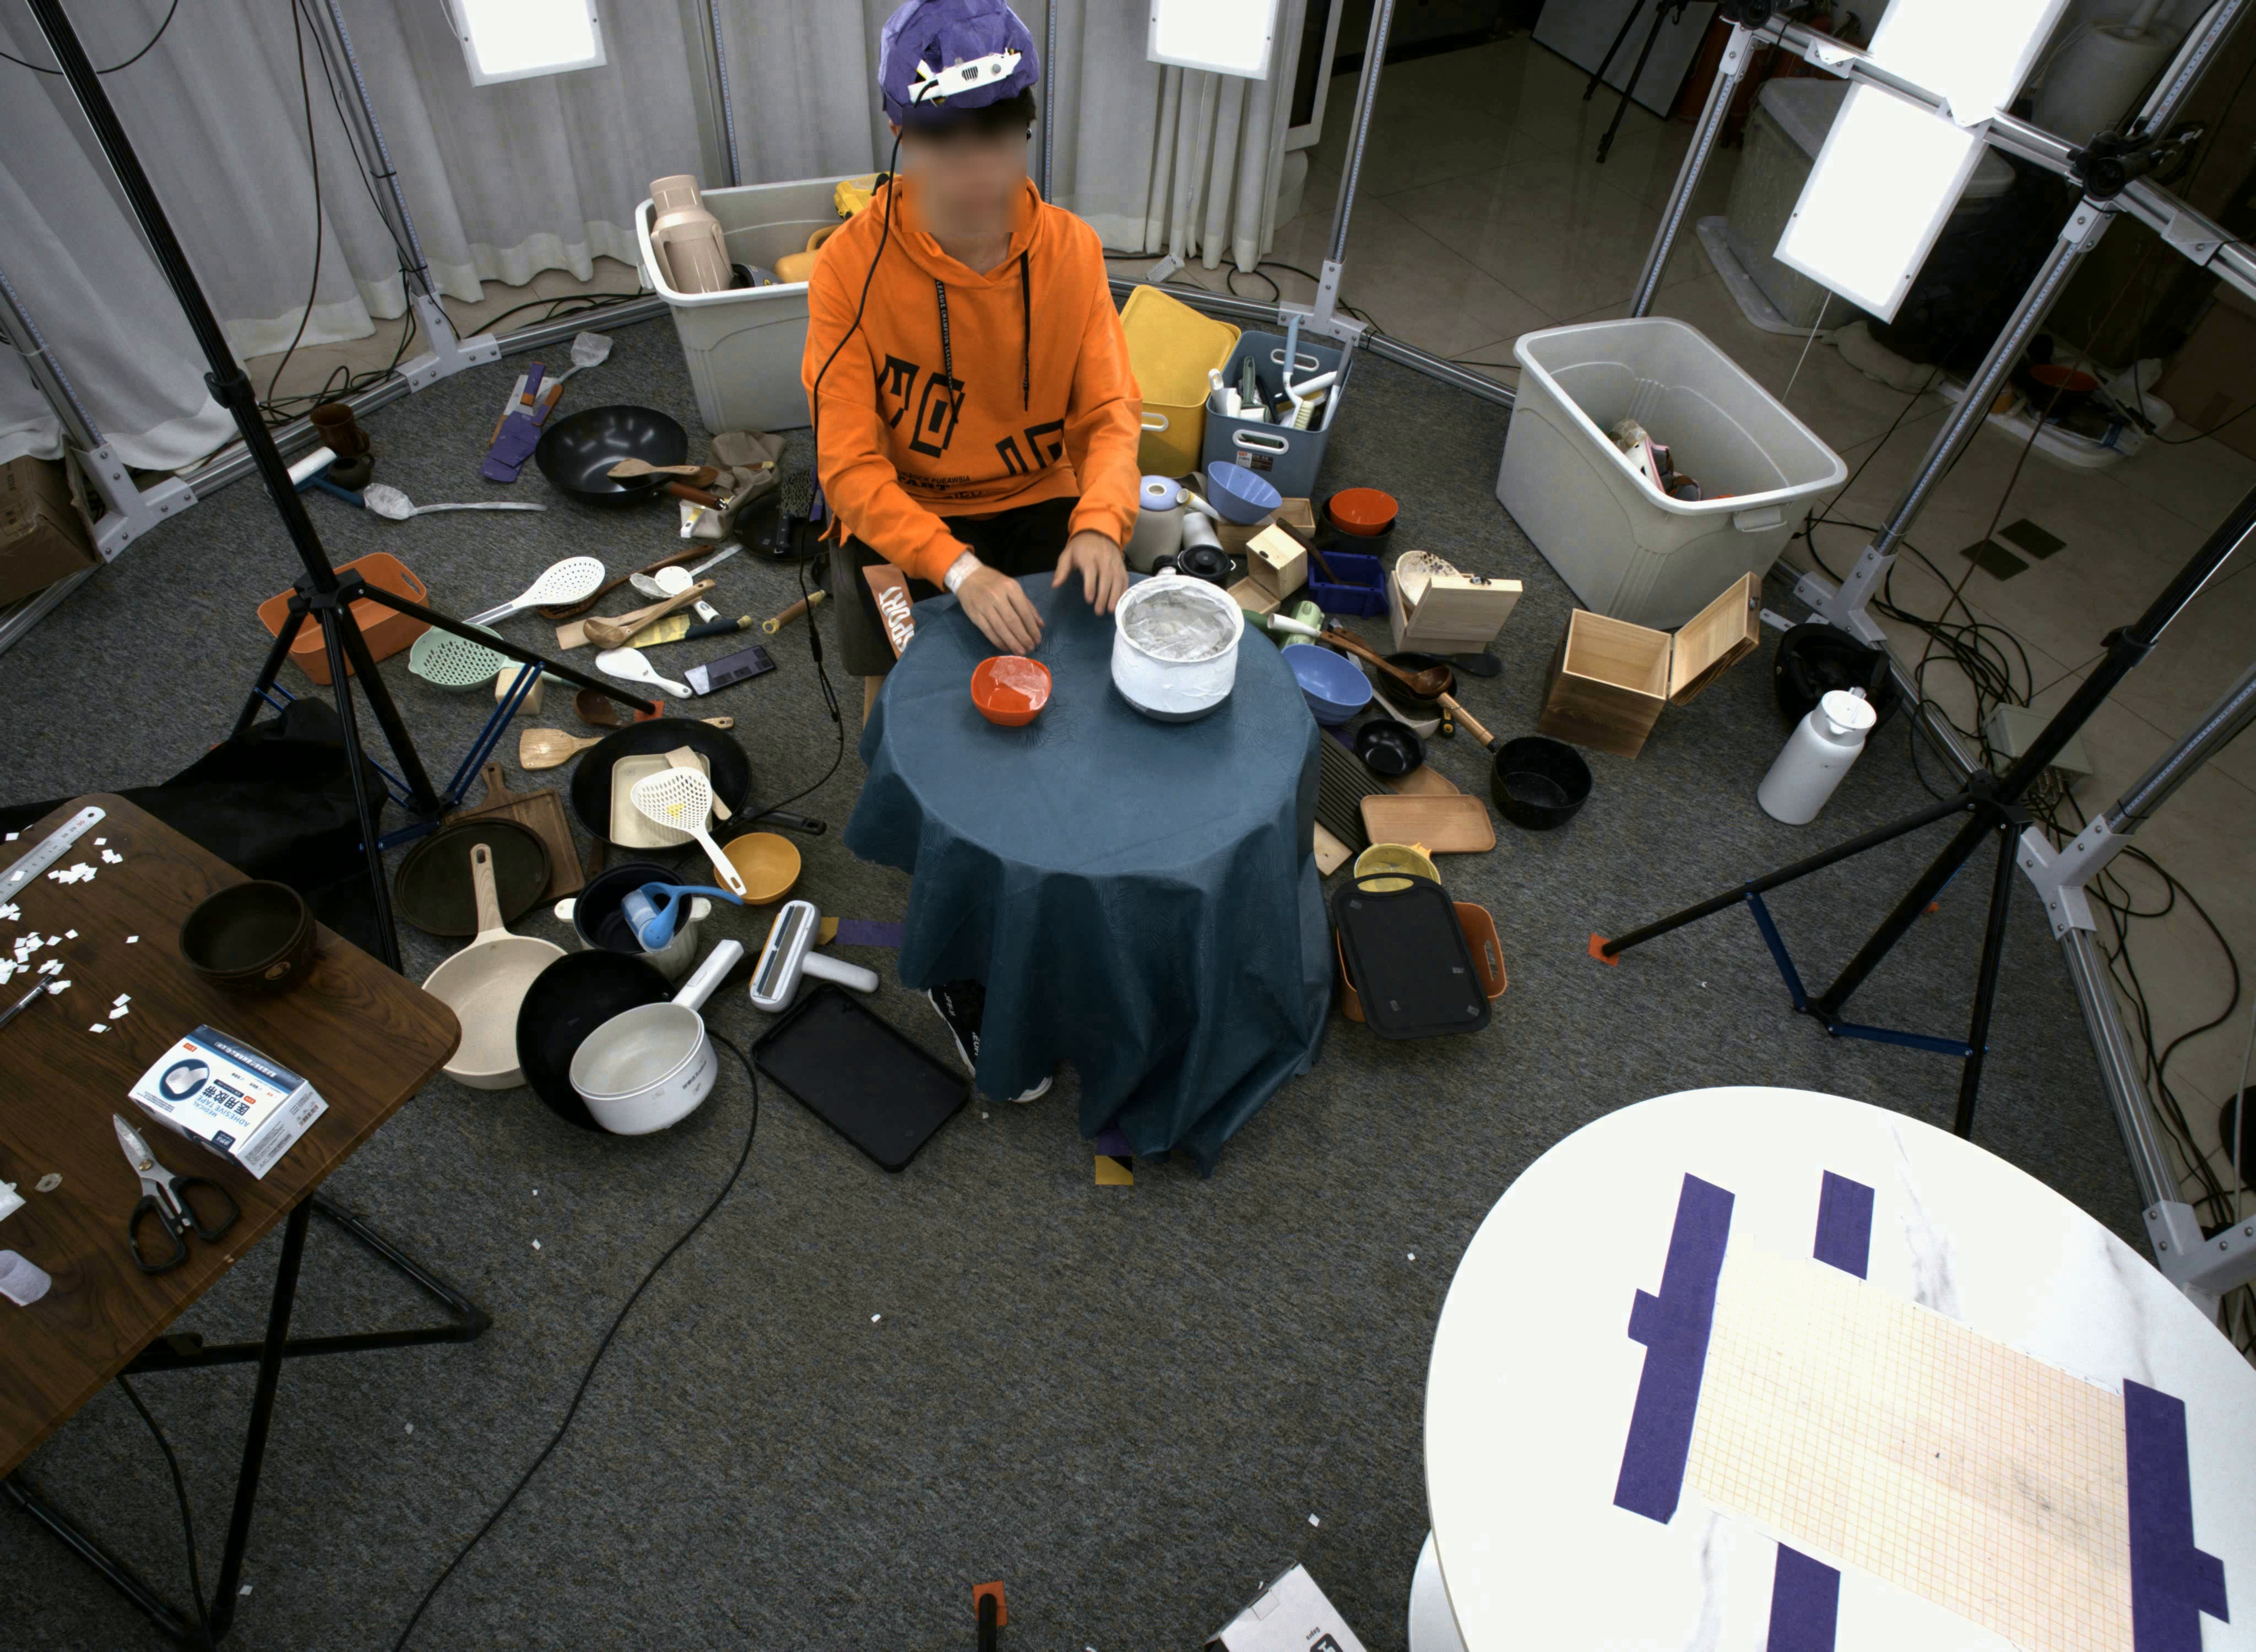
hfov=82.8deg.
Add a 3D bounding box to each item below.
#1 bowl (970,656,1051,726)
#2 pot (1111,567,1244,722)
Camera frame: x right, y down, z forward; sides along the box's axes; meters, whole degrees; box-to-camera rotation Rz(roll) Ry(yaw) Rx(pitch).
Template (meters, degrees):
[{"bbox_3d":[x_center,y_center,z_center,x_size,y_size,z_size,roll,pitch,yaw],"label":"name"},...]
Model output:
[{"bbox_3d":[-0.161,-0.181,1.782,0.119,0.050,0.122,1,50,-2],"label":"bowl"},{"bbox_3d":[0.062,-0.266,1.815,0.178,0.133,0.239,-4,50,-8],"label":"pot"}]
